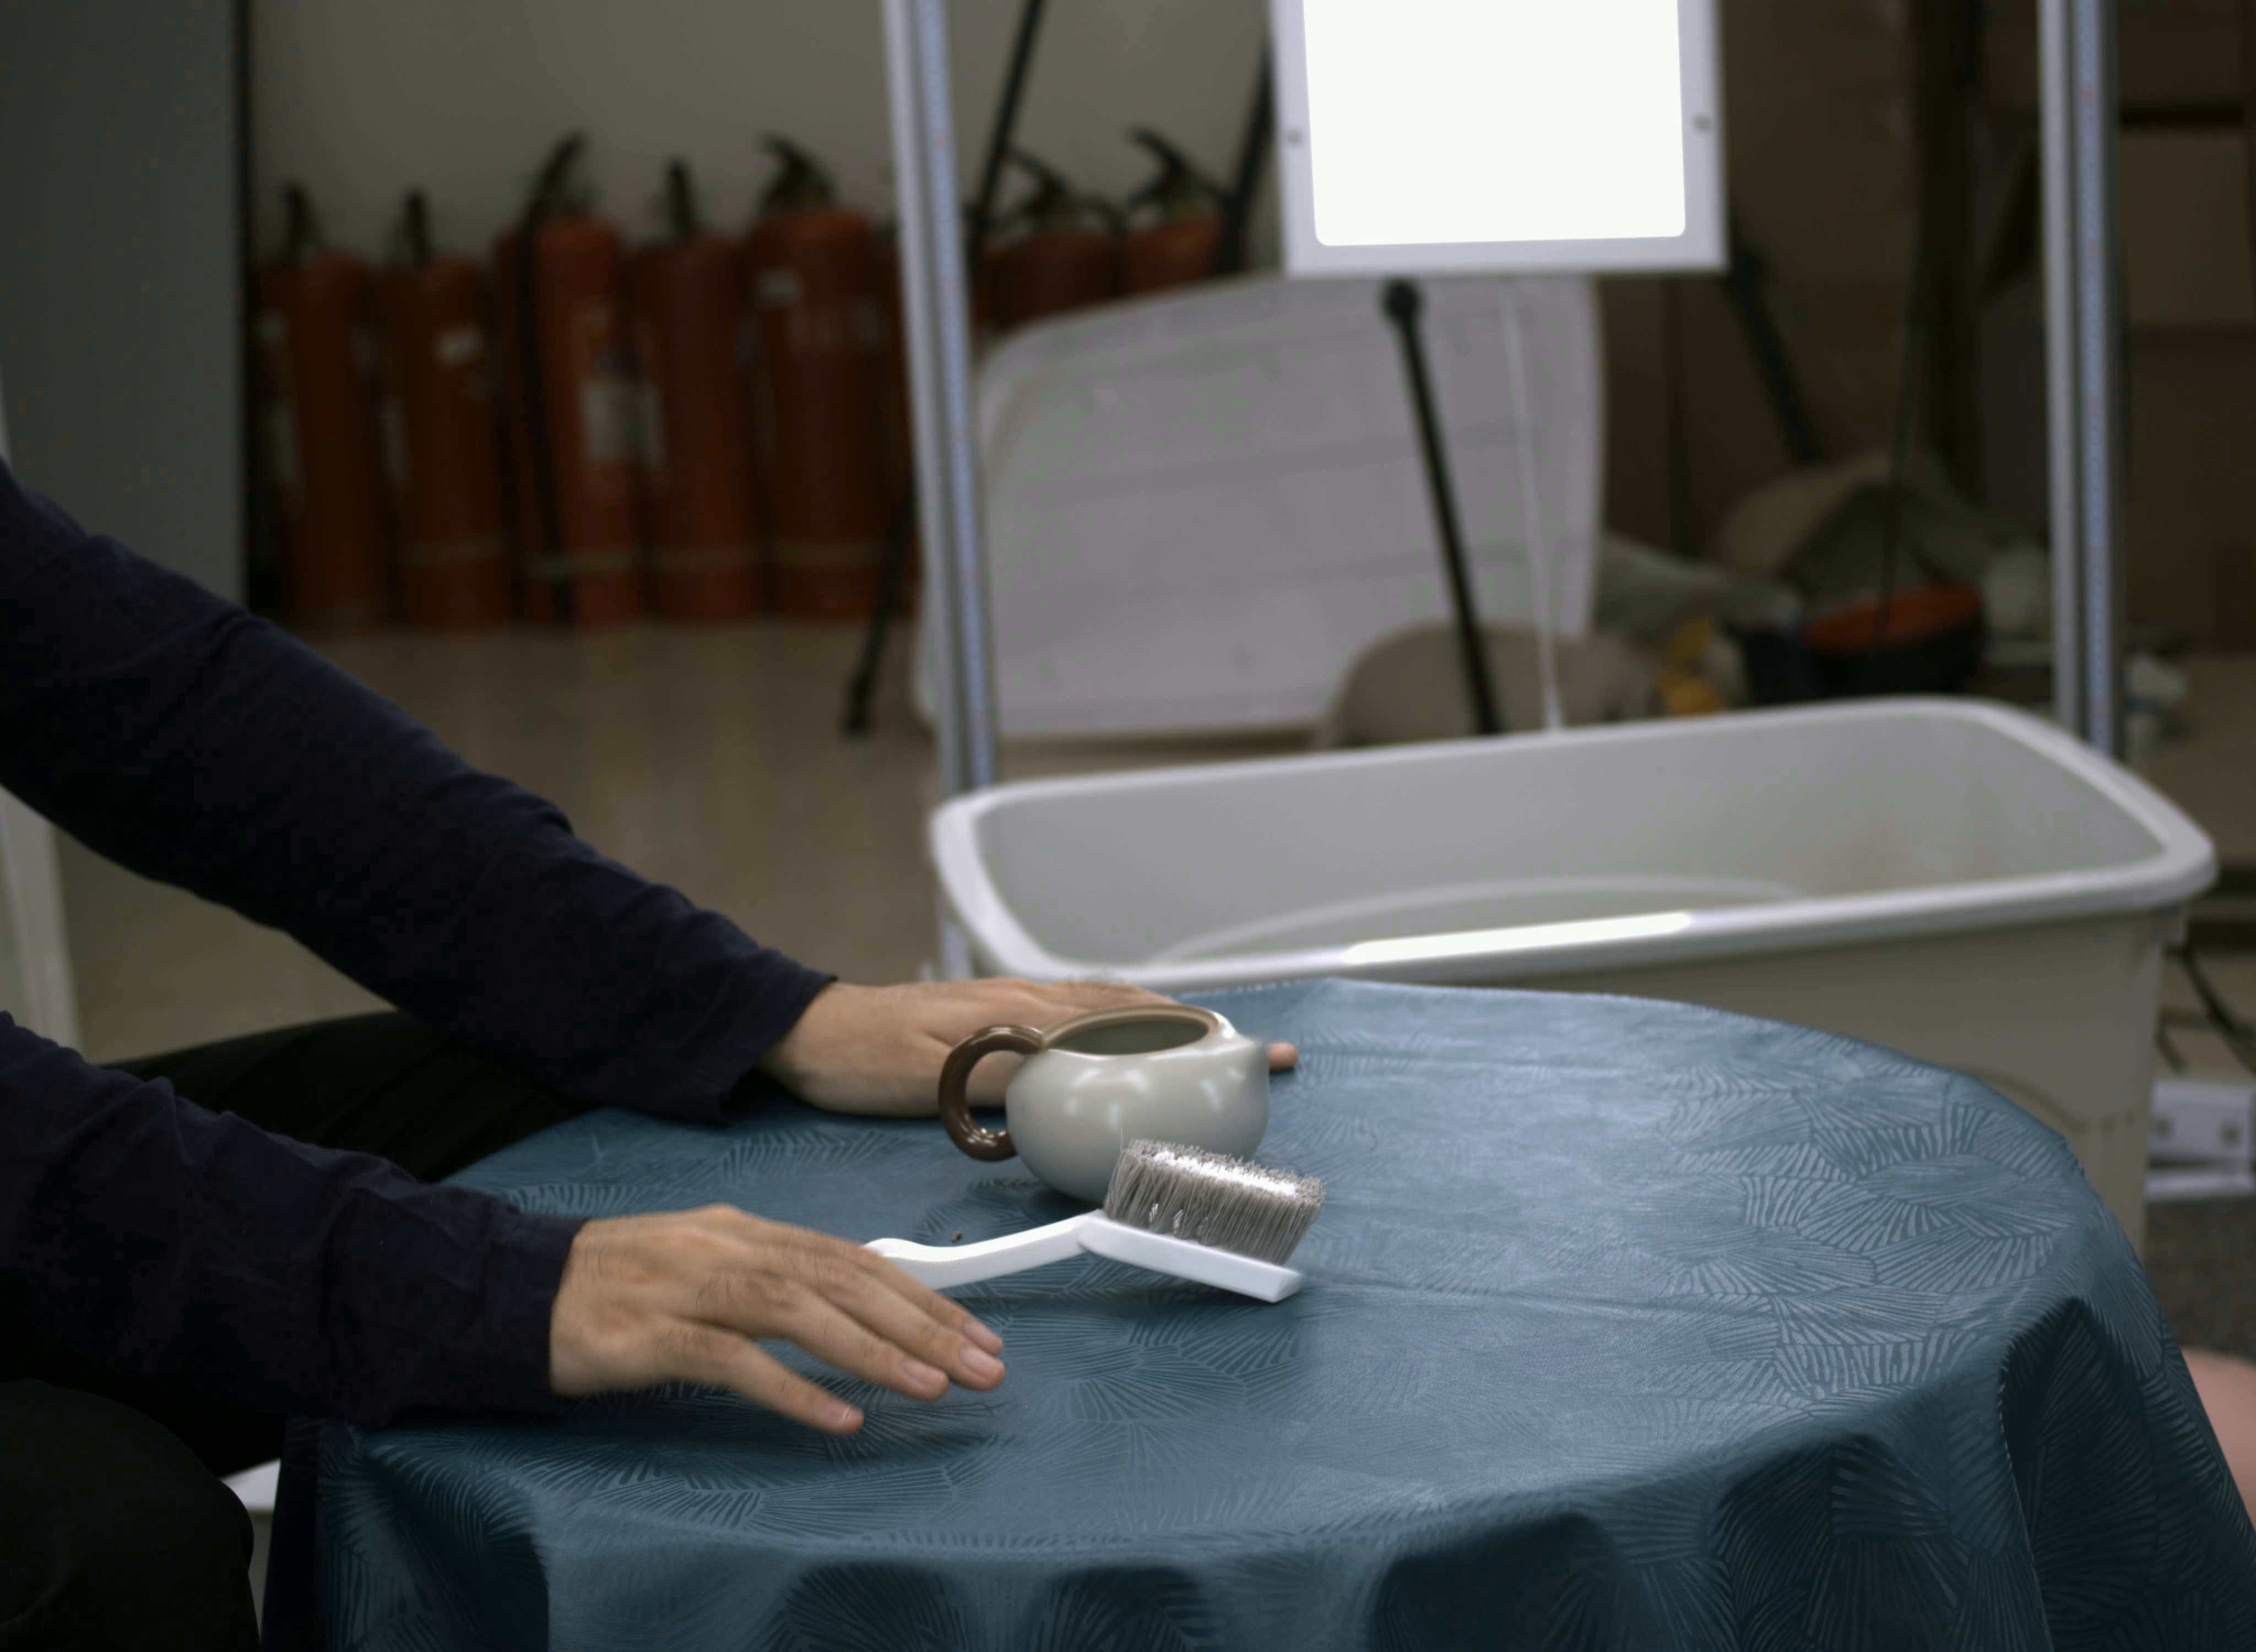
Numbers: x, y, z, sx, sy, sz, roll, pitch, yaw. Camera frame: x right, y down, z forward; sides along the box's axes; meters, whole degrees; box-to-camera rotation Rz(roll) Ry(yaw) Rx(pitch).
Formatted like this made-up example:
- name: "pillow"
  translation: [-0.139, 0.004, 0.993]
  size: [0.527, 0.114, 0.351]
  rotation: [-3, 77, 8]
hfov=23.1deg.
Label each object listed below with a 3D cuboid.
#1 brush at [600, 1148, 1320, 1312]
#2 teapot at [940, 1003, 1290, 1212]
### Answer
- name: "brush"
  translation: [-0.057, 0.132, 1.799]
  size: [0.246, 0.050, 0.034]
  rotation: [-2, 19, 14]
- name: "teapot"
  translation: [-0.004, 0.097, 1.904]
  size: [0.129, 0.060, 0.090]
  rotation: [1, 18, 18]
